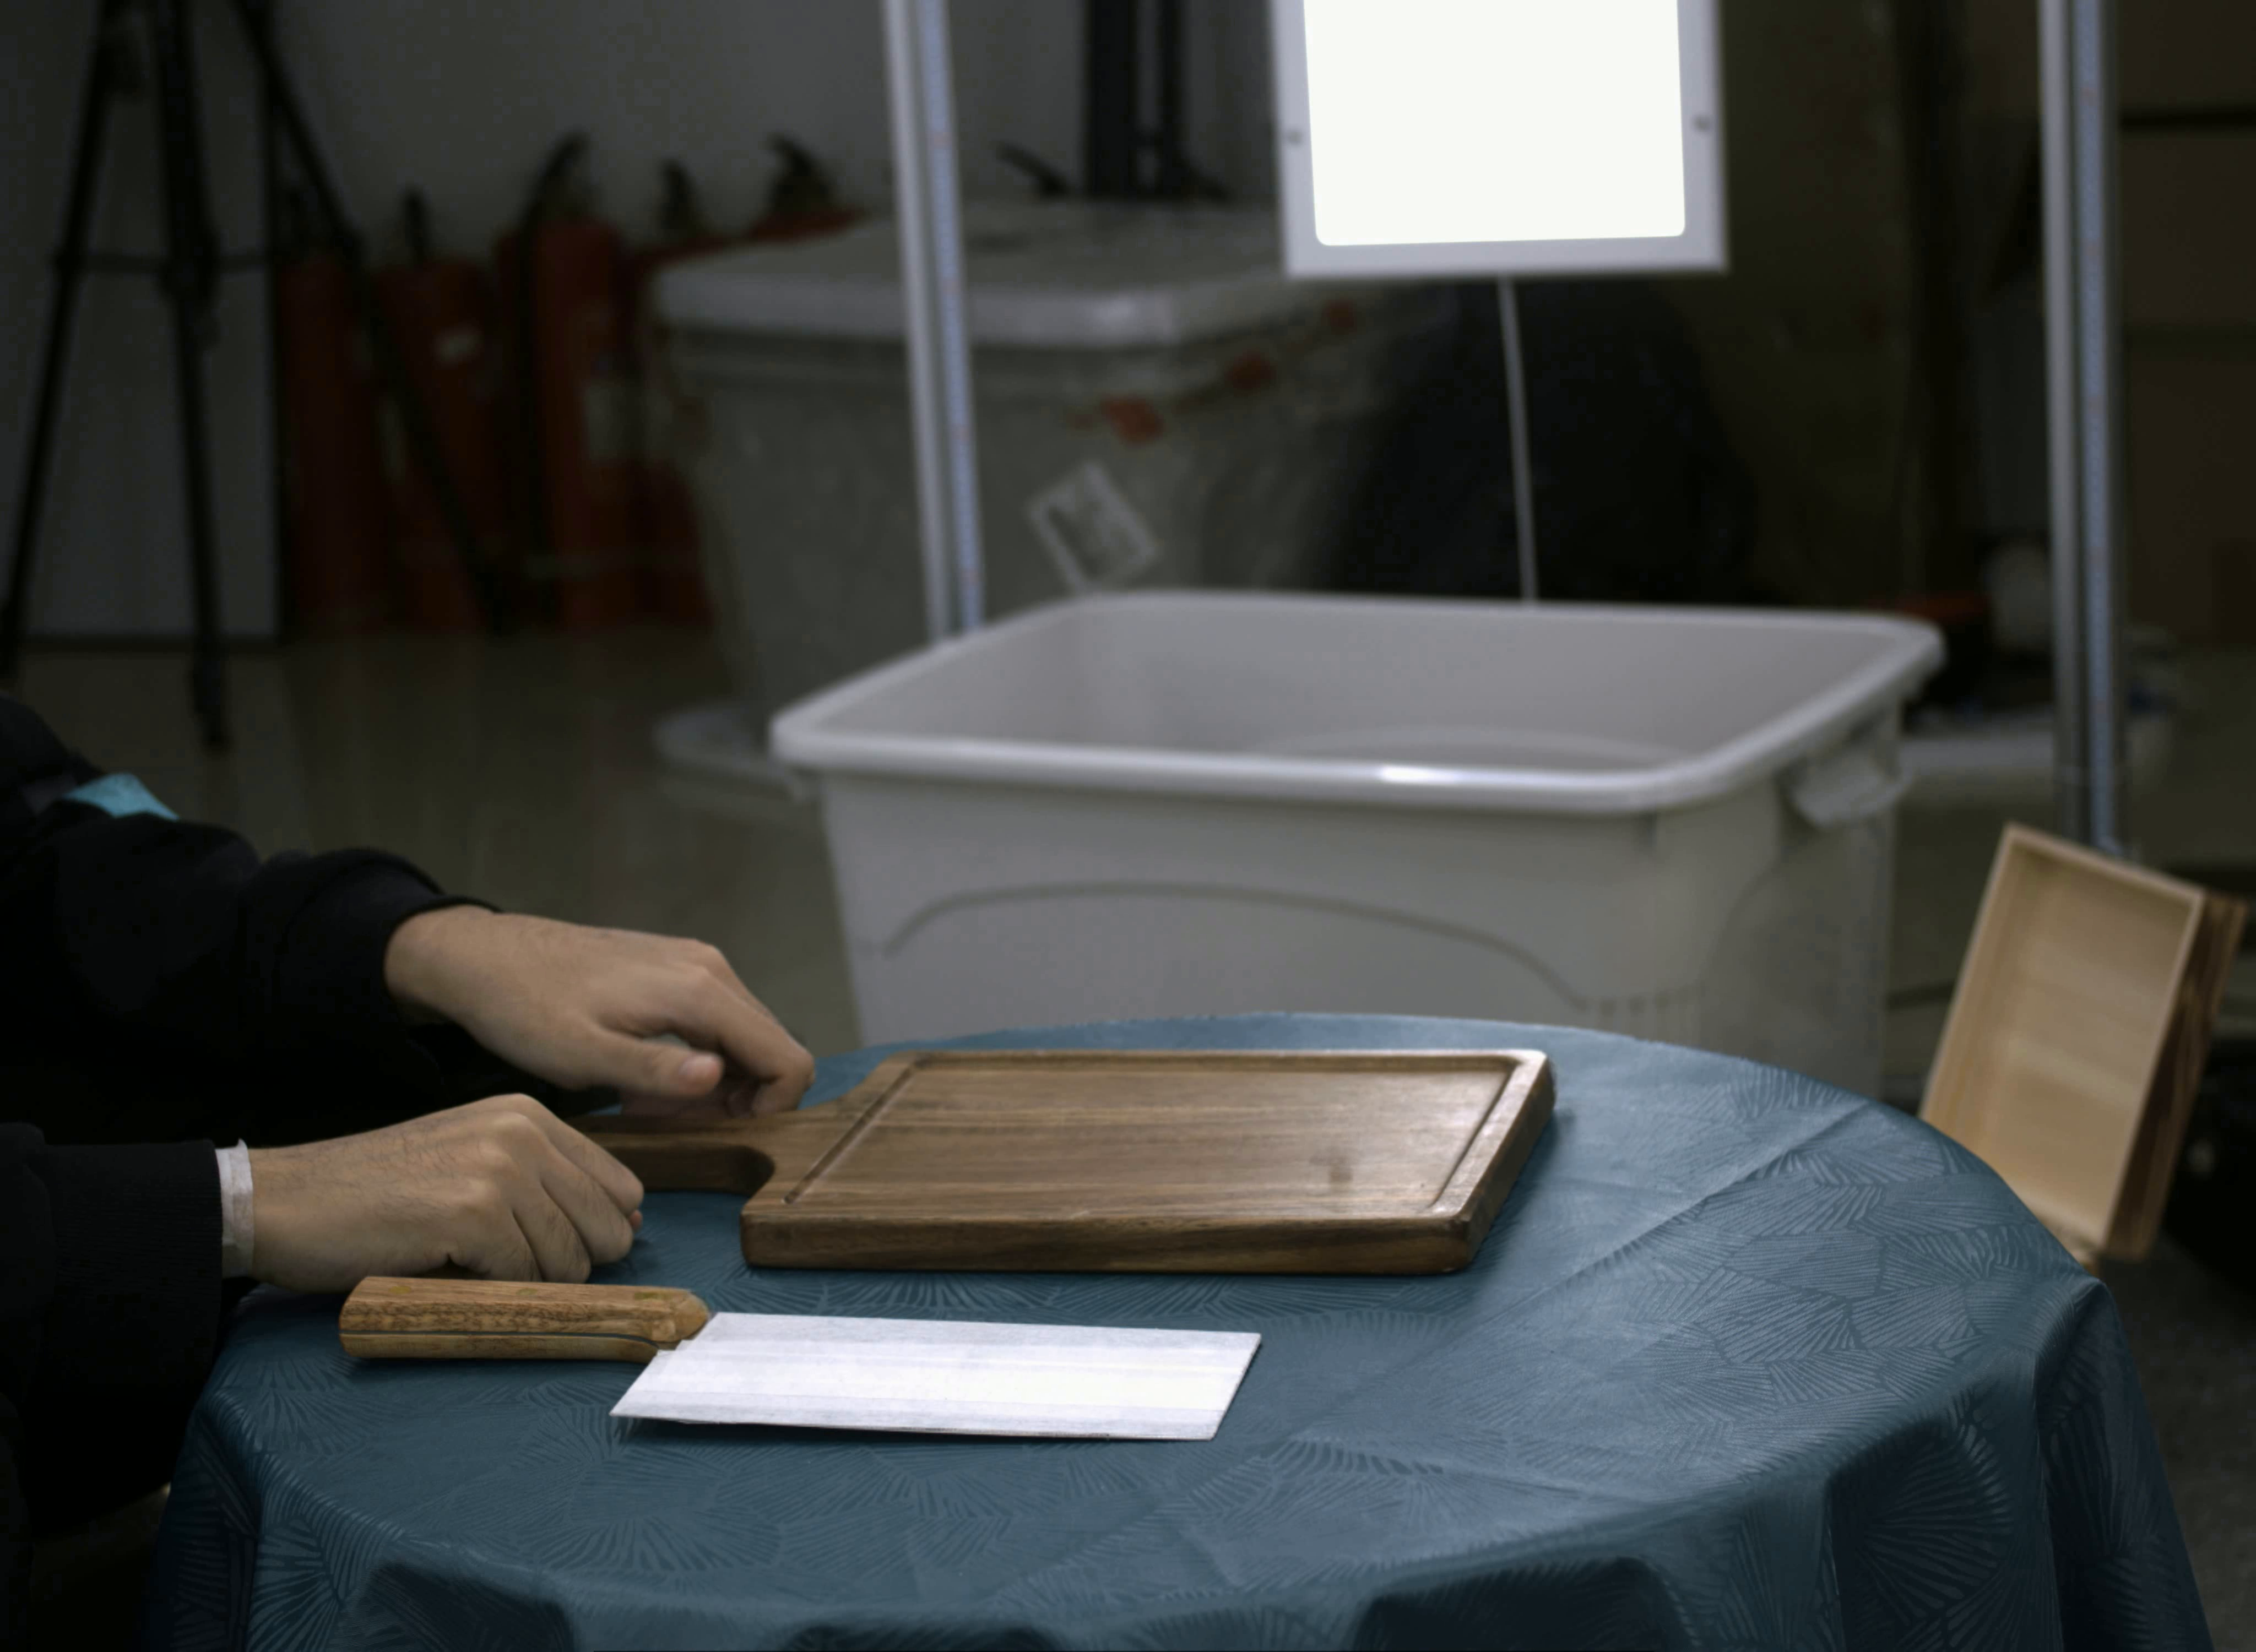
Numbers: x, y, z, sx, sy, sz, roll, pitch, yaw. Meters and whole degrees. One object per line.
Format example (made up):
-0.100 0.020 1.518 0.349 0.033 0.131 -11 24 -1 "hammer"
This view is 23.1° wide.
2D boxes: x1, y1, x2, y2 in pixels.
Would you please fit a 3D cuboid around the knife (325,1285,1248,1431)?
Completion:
-0.114 0.170 1.732 0.308 0.021 0.092 1 16 14 "knife"

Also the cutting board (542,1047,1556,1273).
-0.036 0.115 1.915 0.356 0.023 0.198 -1 14 16 "cutting board"
